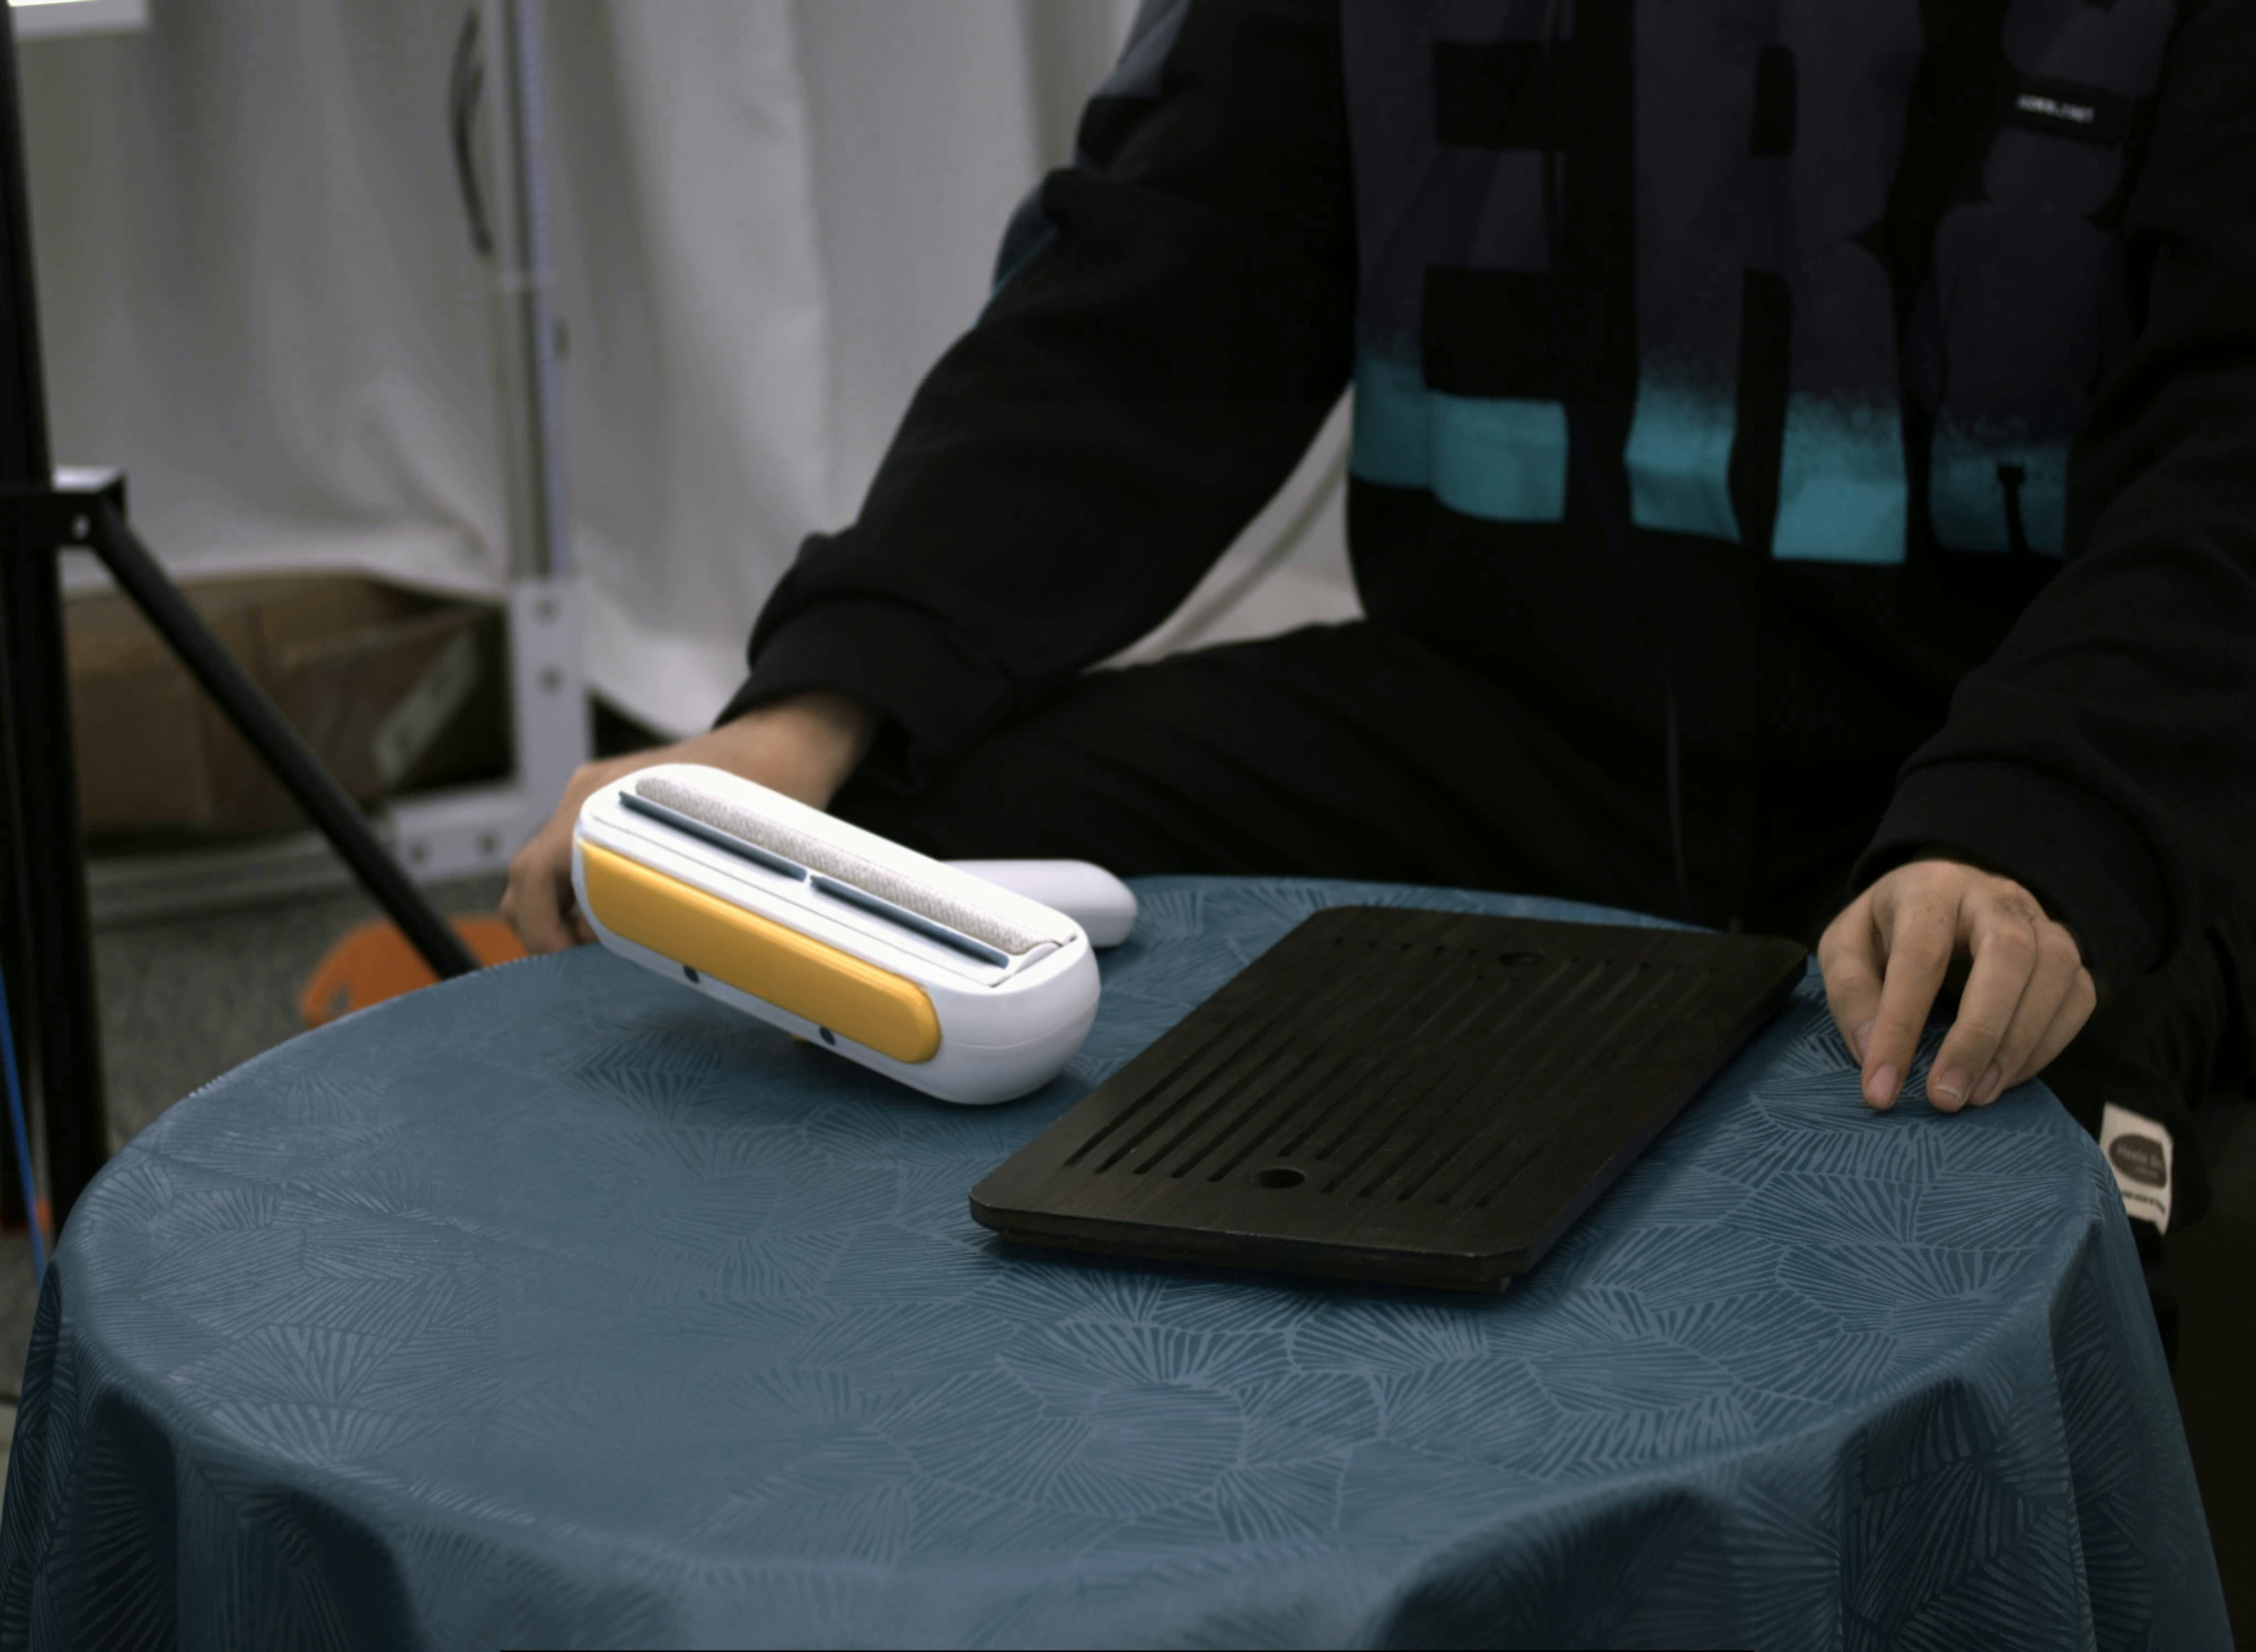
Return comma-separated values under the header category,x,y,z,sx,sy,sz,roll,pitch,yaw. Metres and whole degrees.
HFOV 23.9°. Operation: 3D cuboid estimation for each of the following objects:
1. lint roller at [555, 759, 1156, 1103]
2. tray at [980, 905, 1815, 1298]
category,x,y,z,sx,sy,sz,roll,pitch,yaw
lint roller,-0.062,0.026,1.732,0.197,0.074,0.188,19,25,39
tray,0.089,0.080,1.607,0.172,0.018,0.302,4,17,23
